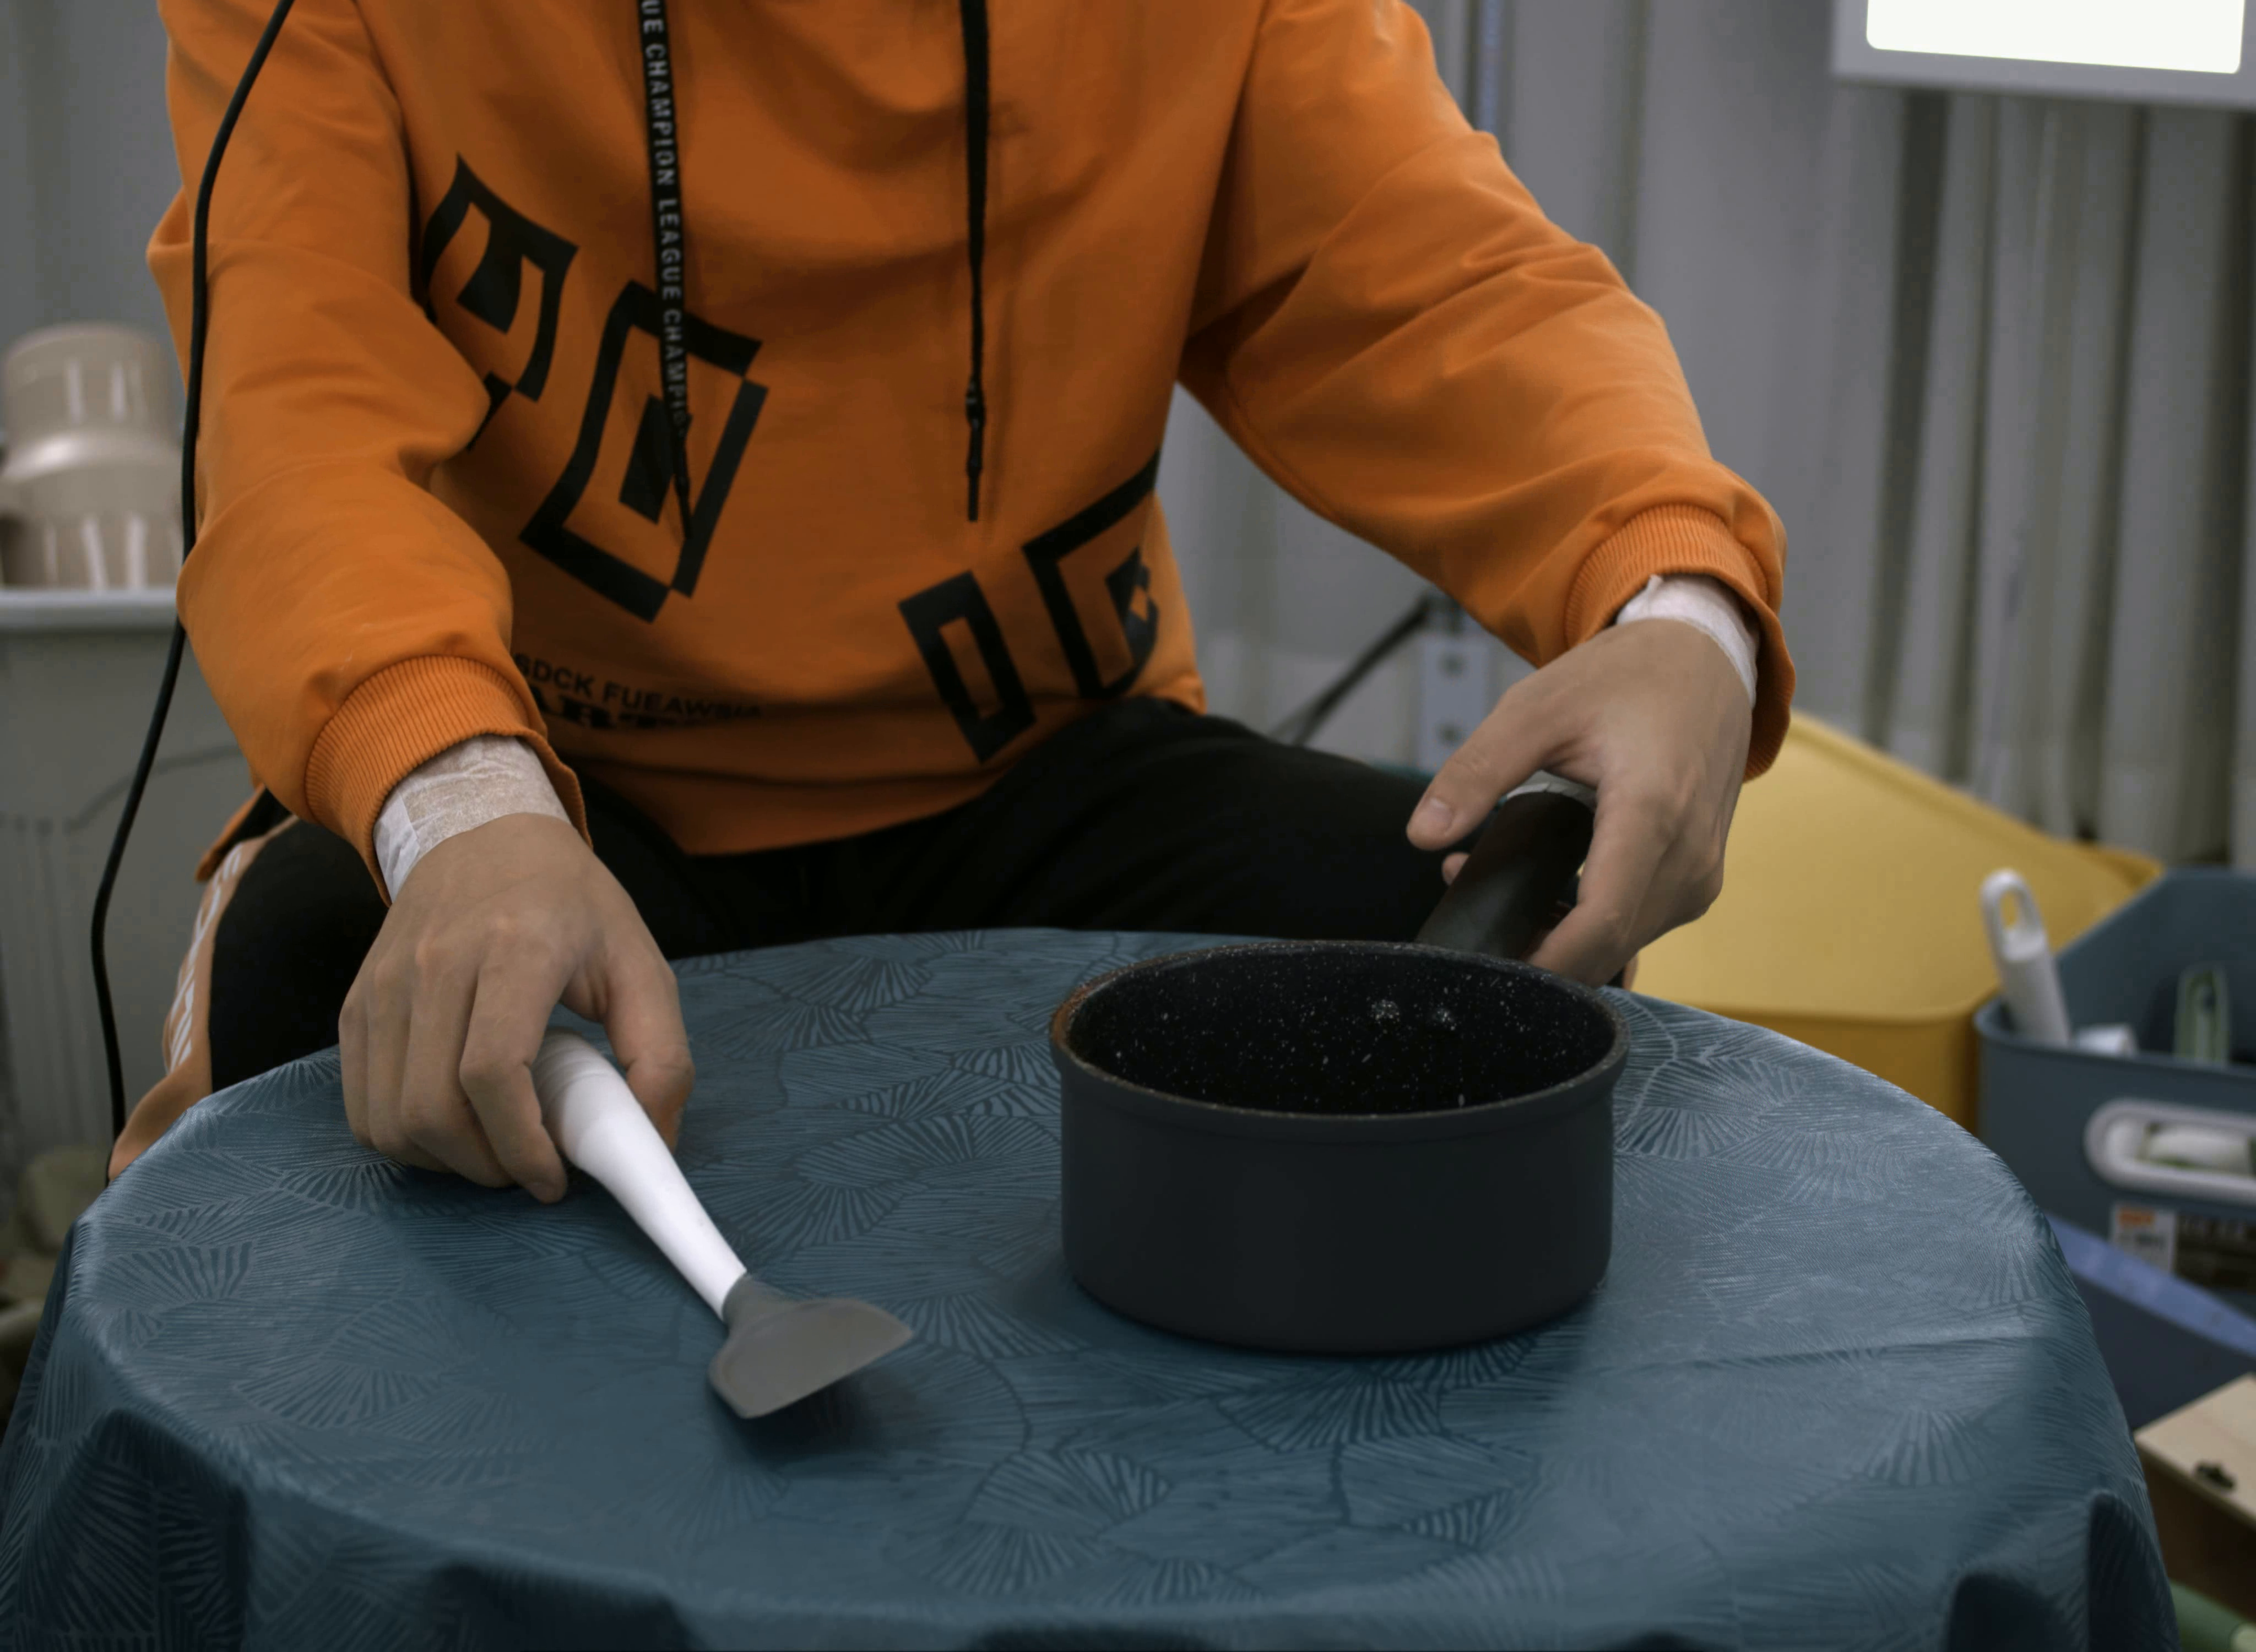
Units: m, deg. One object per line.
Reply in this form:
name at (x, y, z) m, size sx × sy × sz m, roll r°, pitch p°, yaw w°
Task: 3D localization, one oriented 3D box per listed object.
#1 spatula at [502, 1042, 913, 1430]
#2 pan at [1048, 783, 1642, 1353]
spatula at (-0.128, 0.119, 1.533) m, size 0.058 × 0.032 × 0.284 m, roll -24°, pitch 23°, yaw -15°
pan at (0.091, 0.070, 1.620) m, size 0.170 × 0.087 × 0.329 m, roll 8°, pitch 19°, yaw 21°
